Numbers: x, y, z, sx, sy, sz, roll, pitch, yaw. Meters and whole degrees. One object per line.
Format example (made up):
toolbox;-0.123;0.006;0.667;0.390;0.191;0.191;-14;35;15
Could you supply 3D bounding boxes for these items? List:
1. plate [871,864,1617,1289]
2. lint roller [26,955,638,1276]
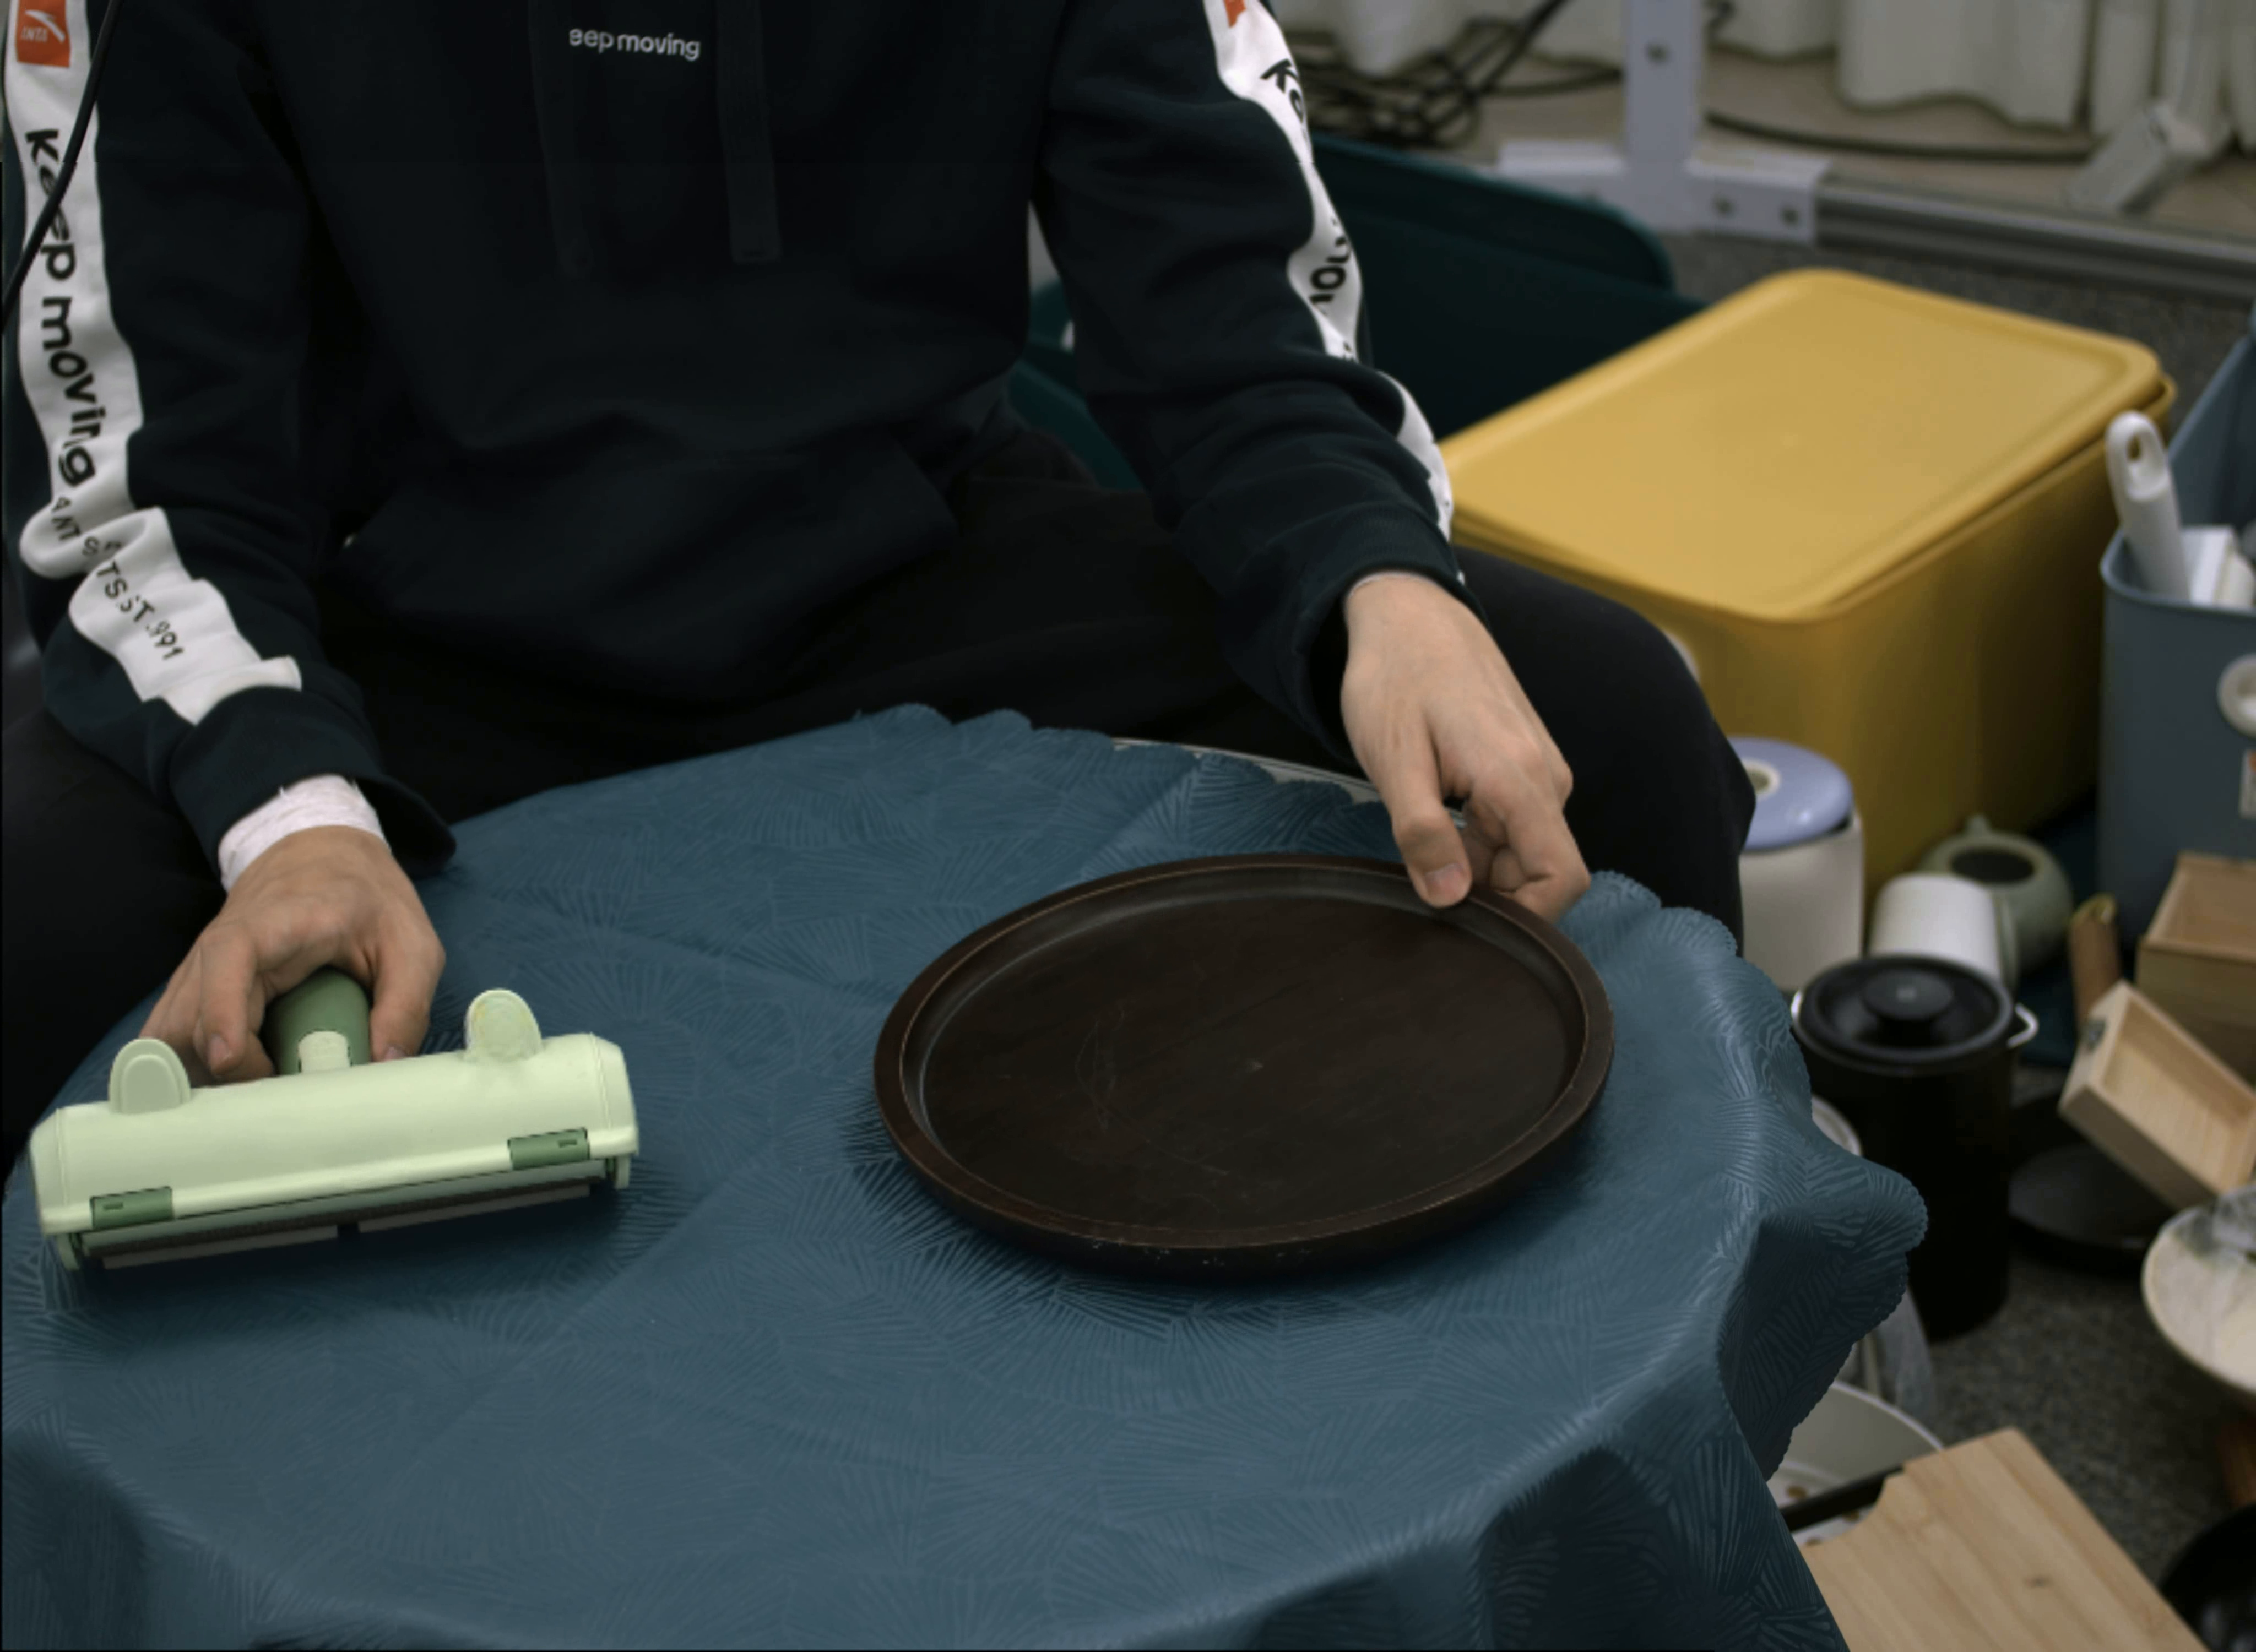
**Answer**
plate;0.039;0.082;1.899;0.253;0.029;0.259;-4;30;3
lint roller;-0.272;0.073;1.891;0.198;0.081;0.186;-8;32;-9
